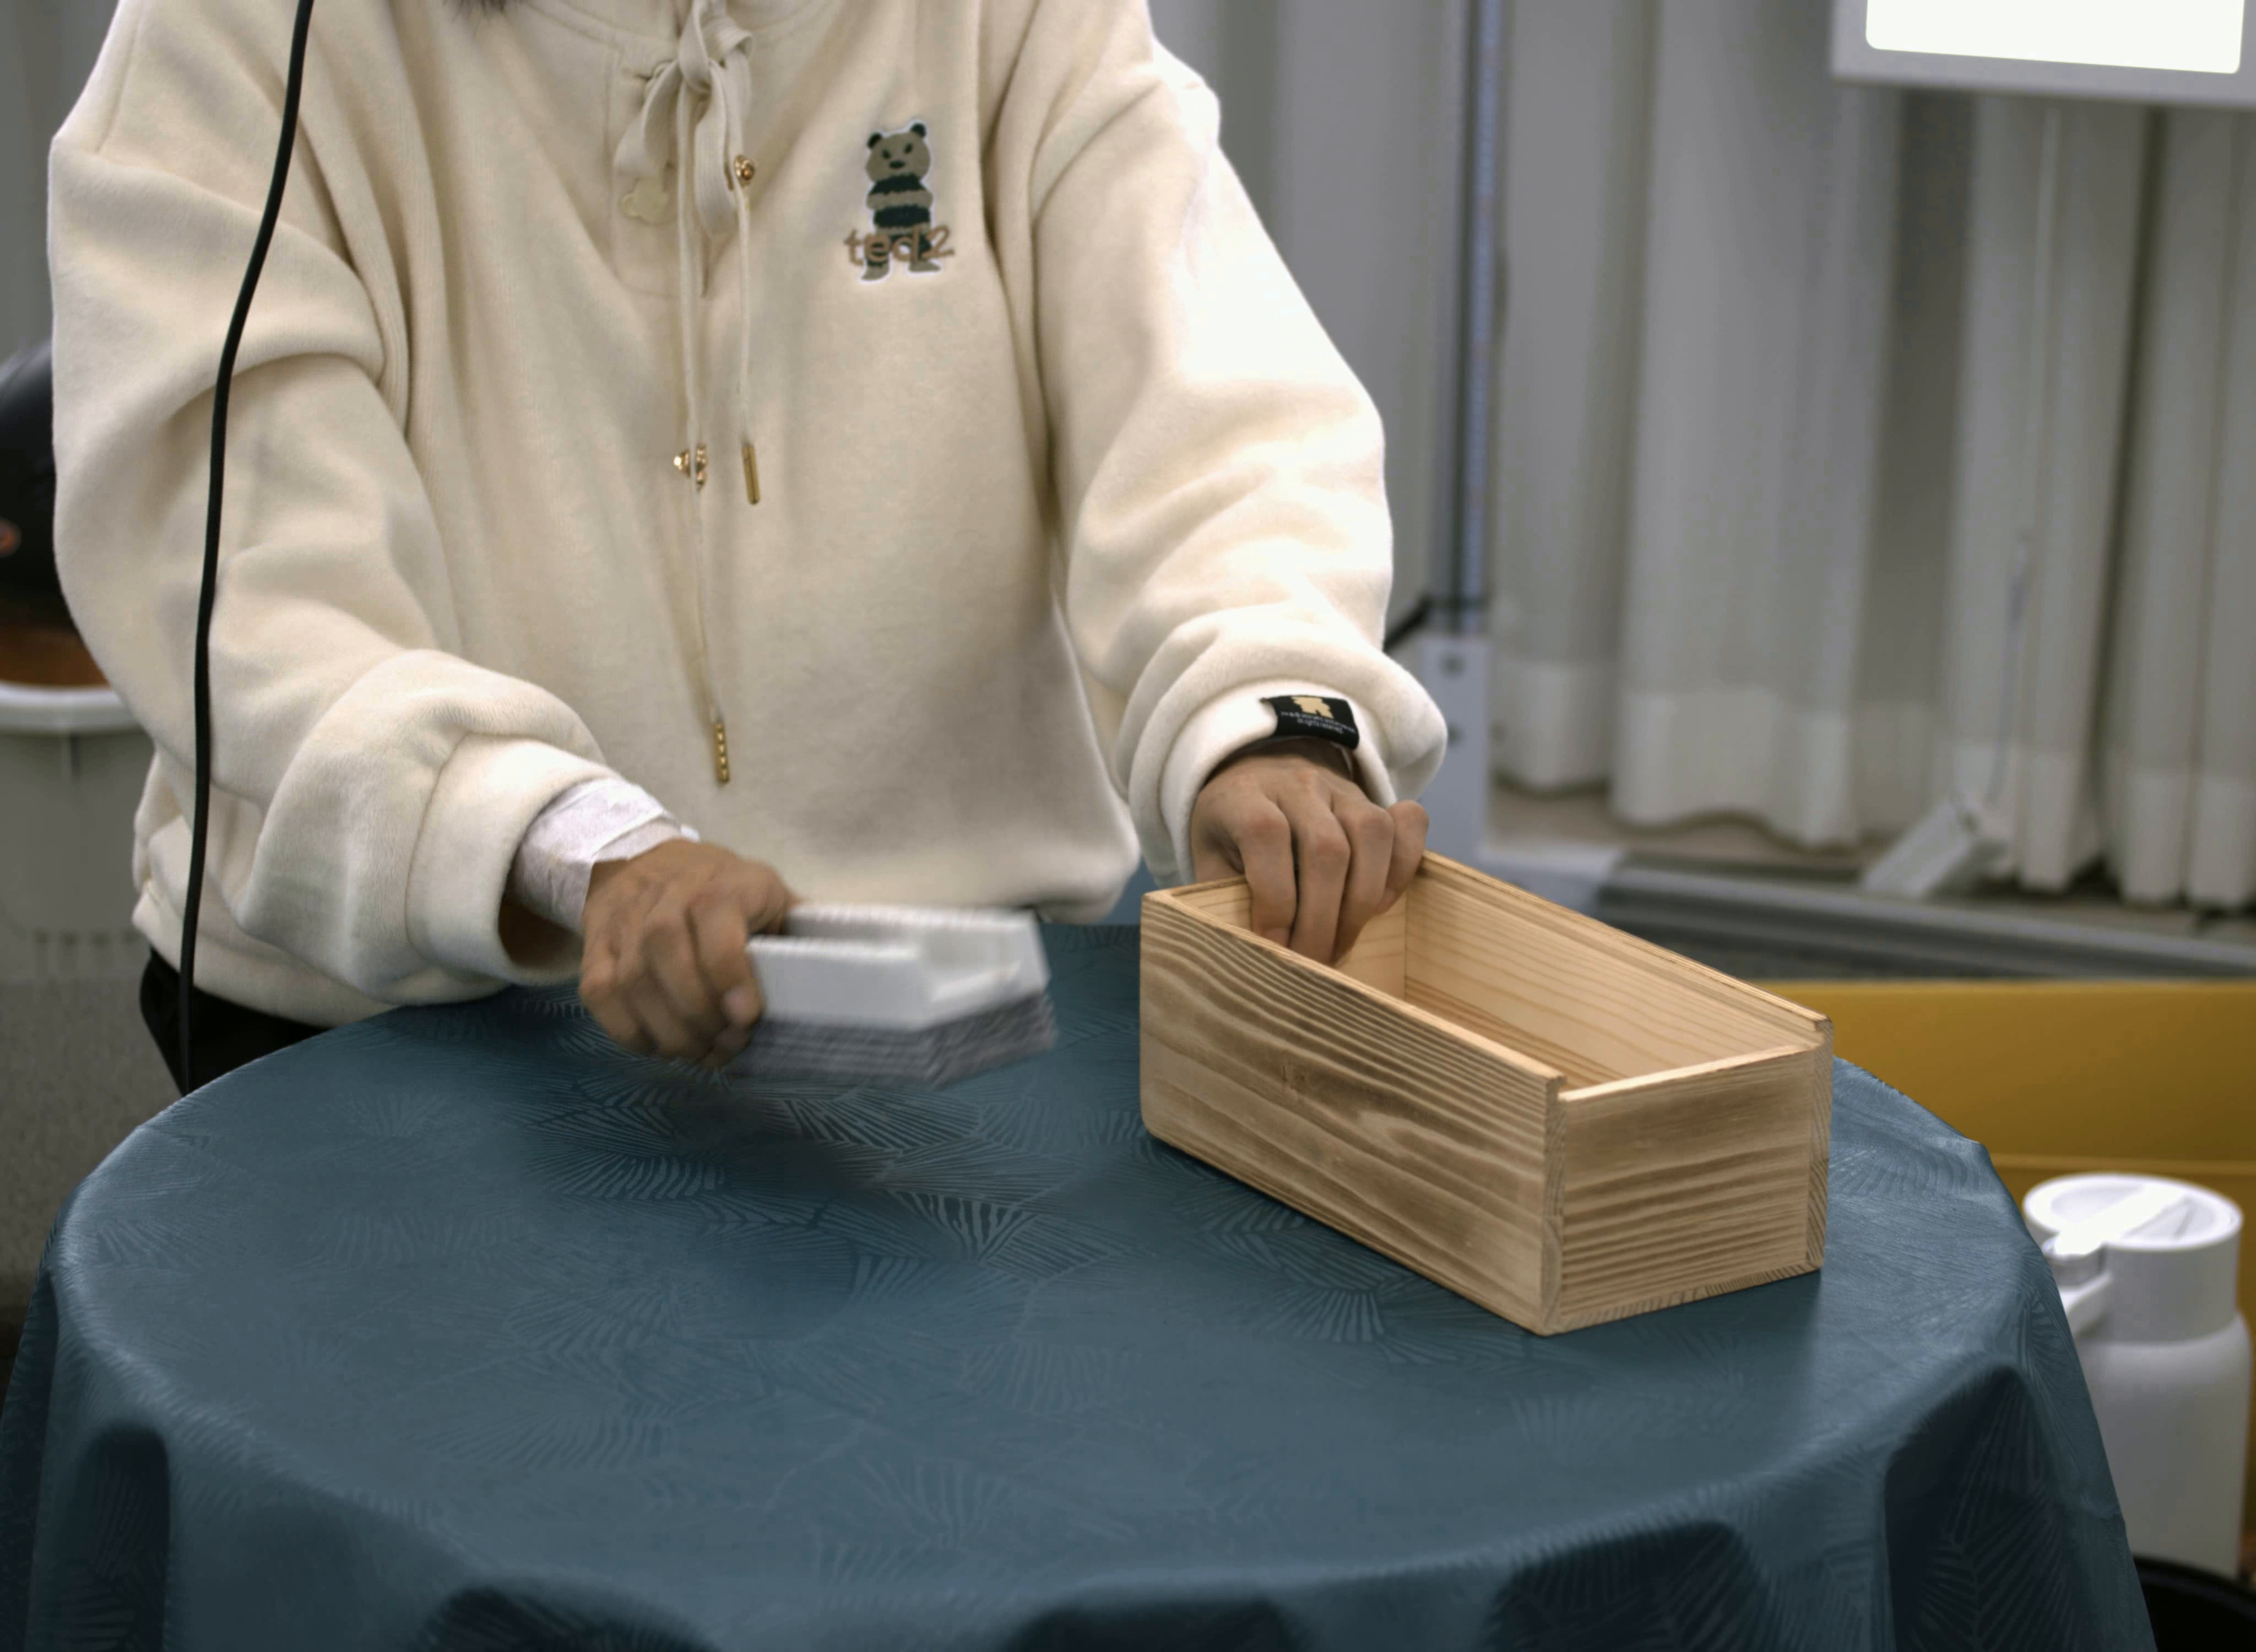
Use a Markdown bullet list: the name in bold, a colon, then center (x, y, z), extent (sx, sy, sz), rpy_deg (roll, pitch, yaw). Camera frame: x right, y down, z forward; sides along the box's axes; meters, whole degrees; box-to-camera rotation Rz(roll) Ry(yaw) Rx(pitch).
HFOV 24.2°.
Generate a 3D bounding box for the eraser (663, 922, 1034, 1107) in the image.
- **eraser**: center (-0.085, 0.056, 1.611), extent (0.050, 0.047, 0.133), rpy_deg (-18, 12, -34)

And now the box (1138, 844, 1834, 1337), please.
- **box**: center (0.104, 0.076, 1.603), extent (0.108, 0.081, 0.208), rpy_deg (-10, 20, -33)
